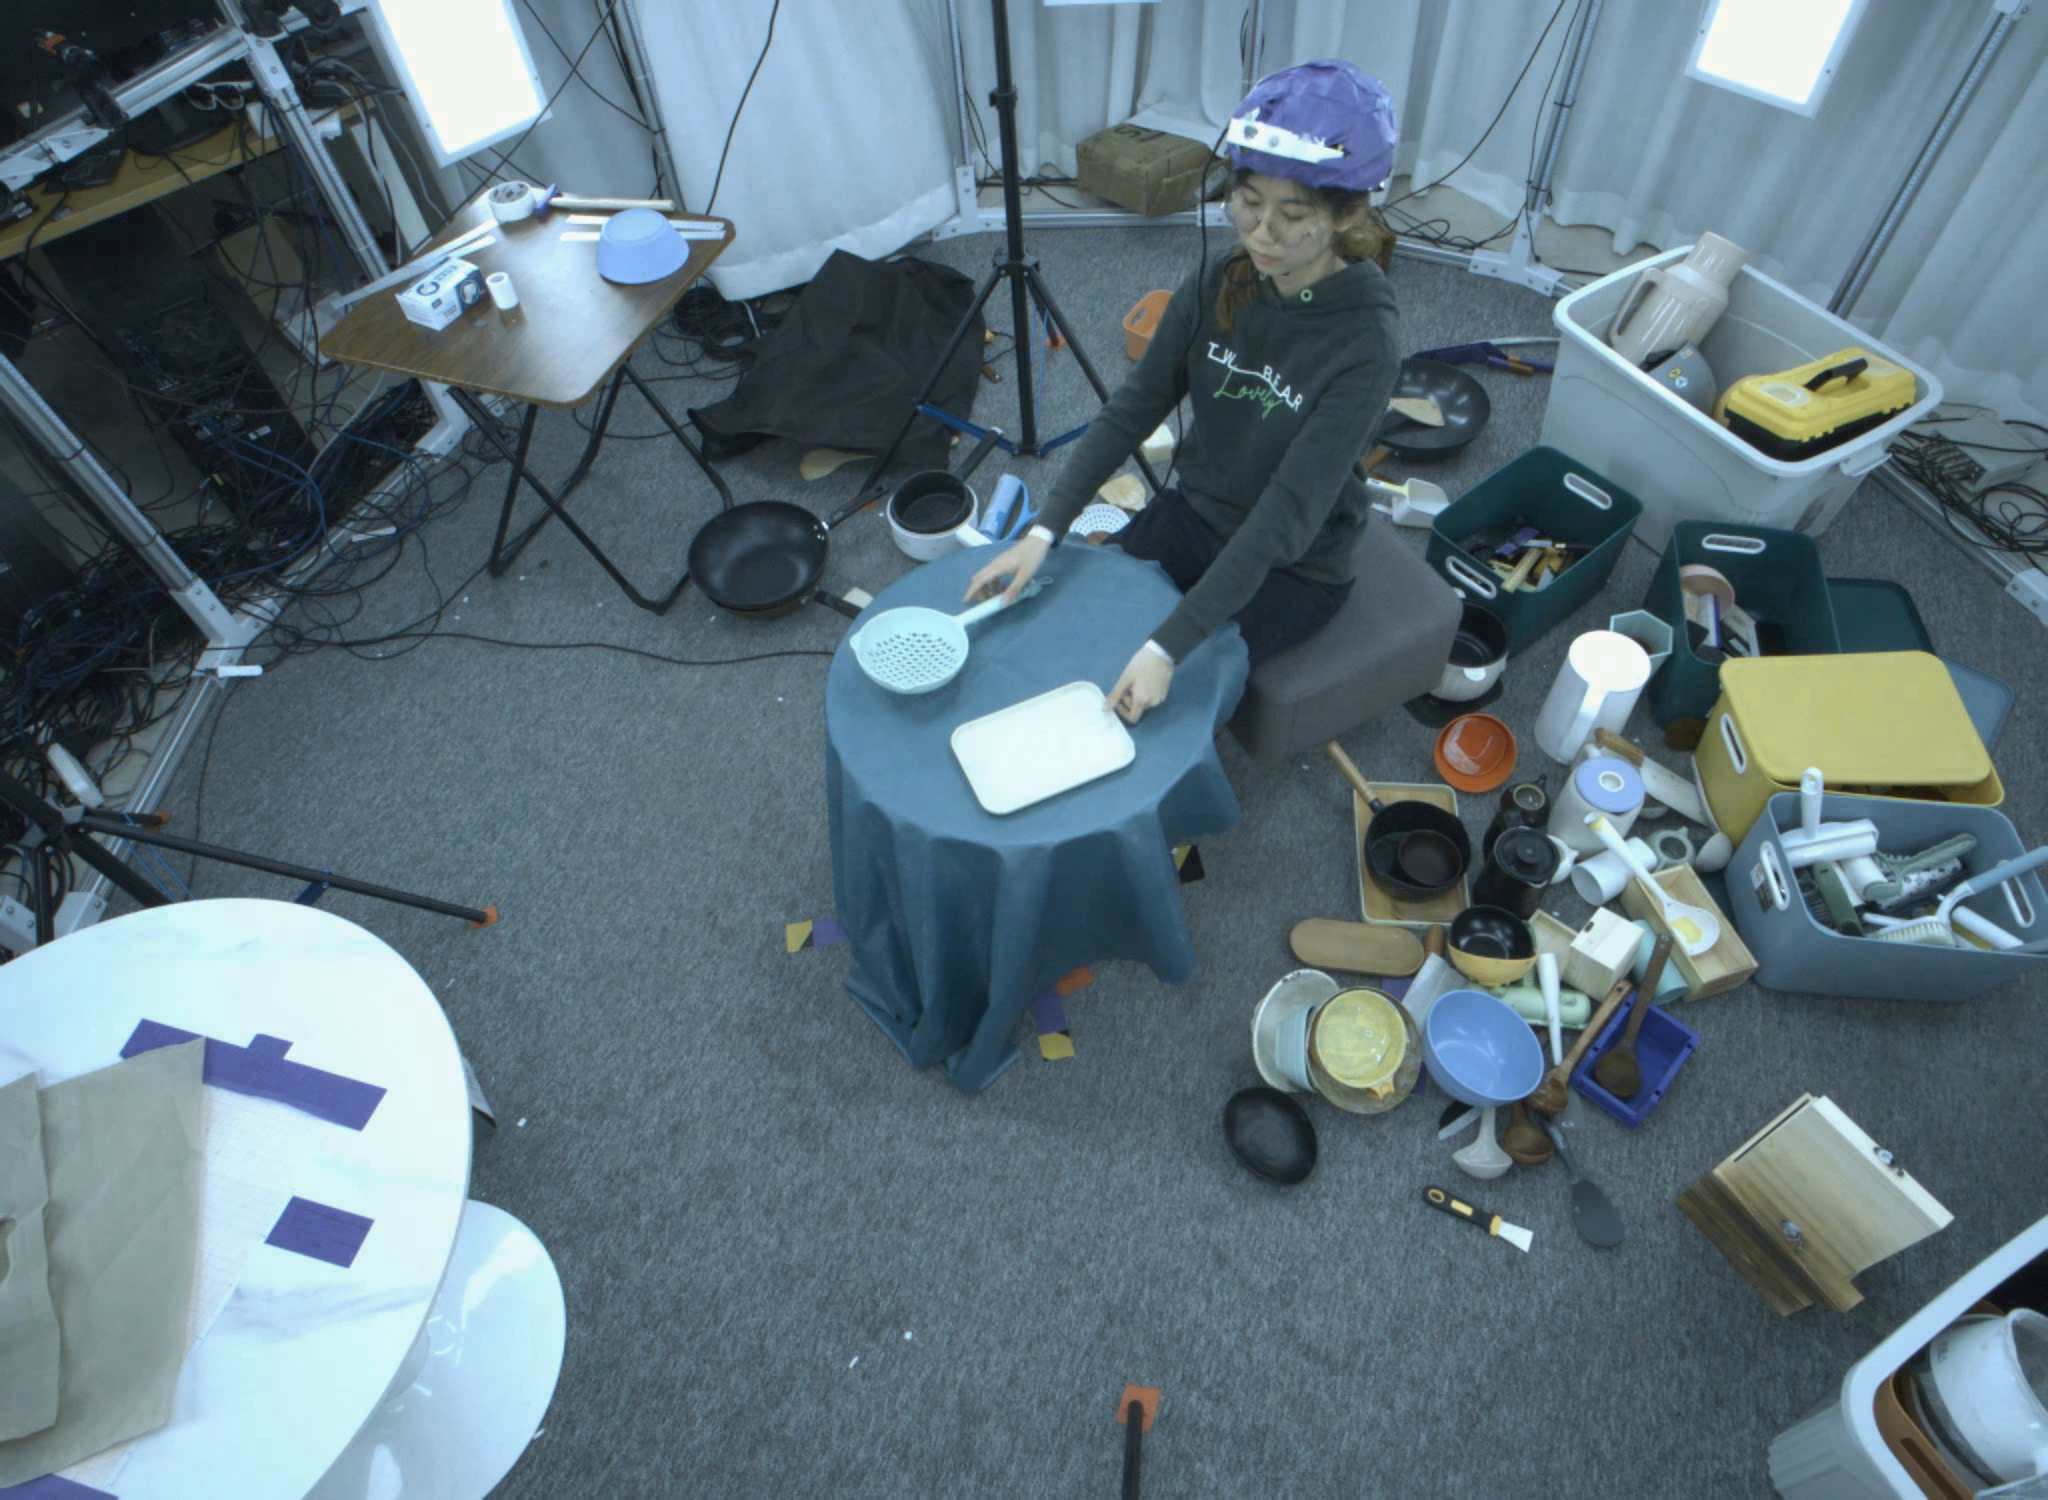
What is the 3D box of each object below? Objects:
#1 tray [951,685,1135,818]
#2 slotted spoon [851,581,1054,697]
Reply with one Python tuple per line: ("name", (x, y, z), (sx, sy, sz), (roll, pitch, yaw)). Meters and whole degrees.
("tray", (0.027, 0.001, 1.786), (0.241, 0.017, 0.168), (-21, 57, -14))
("slotted spoon", (-0.094, -0.190, 1.895), (0.361, 0.076, 0.166), (-36, 62, -22))
